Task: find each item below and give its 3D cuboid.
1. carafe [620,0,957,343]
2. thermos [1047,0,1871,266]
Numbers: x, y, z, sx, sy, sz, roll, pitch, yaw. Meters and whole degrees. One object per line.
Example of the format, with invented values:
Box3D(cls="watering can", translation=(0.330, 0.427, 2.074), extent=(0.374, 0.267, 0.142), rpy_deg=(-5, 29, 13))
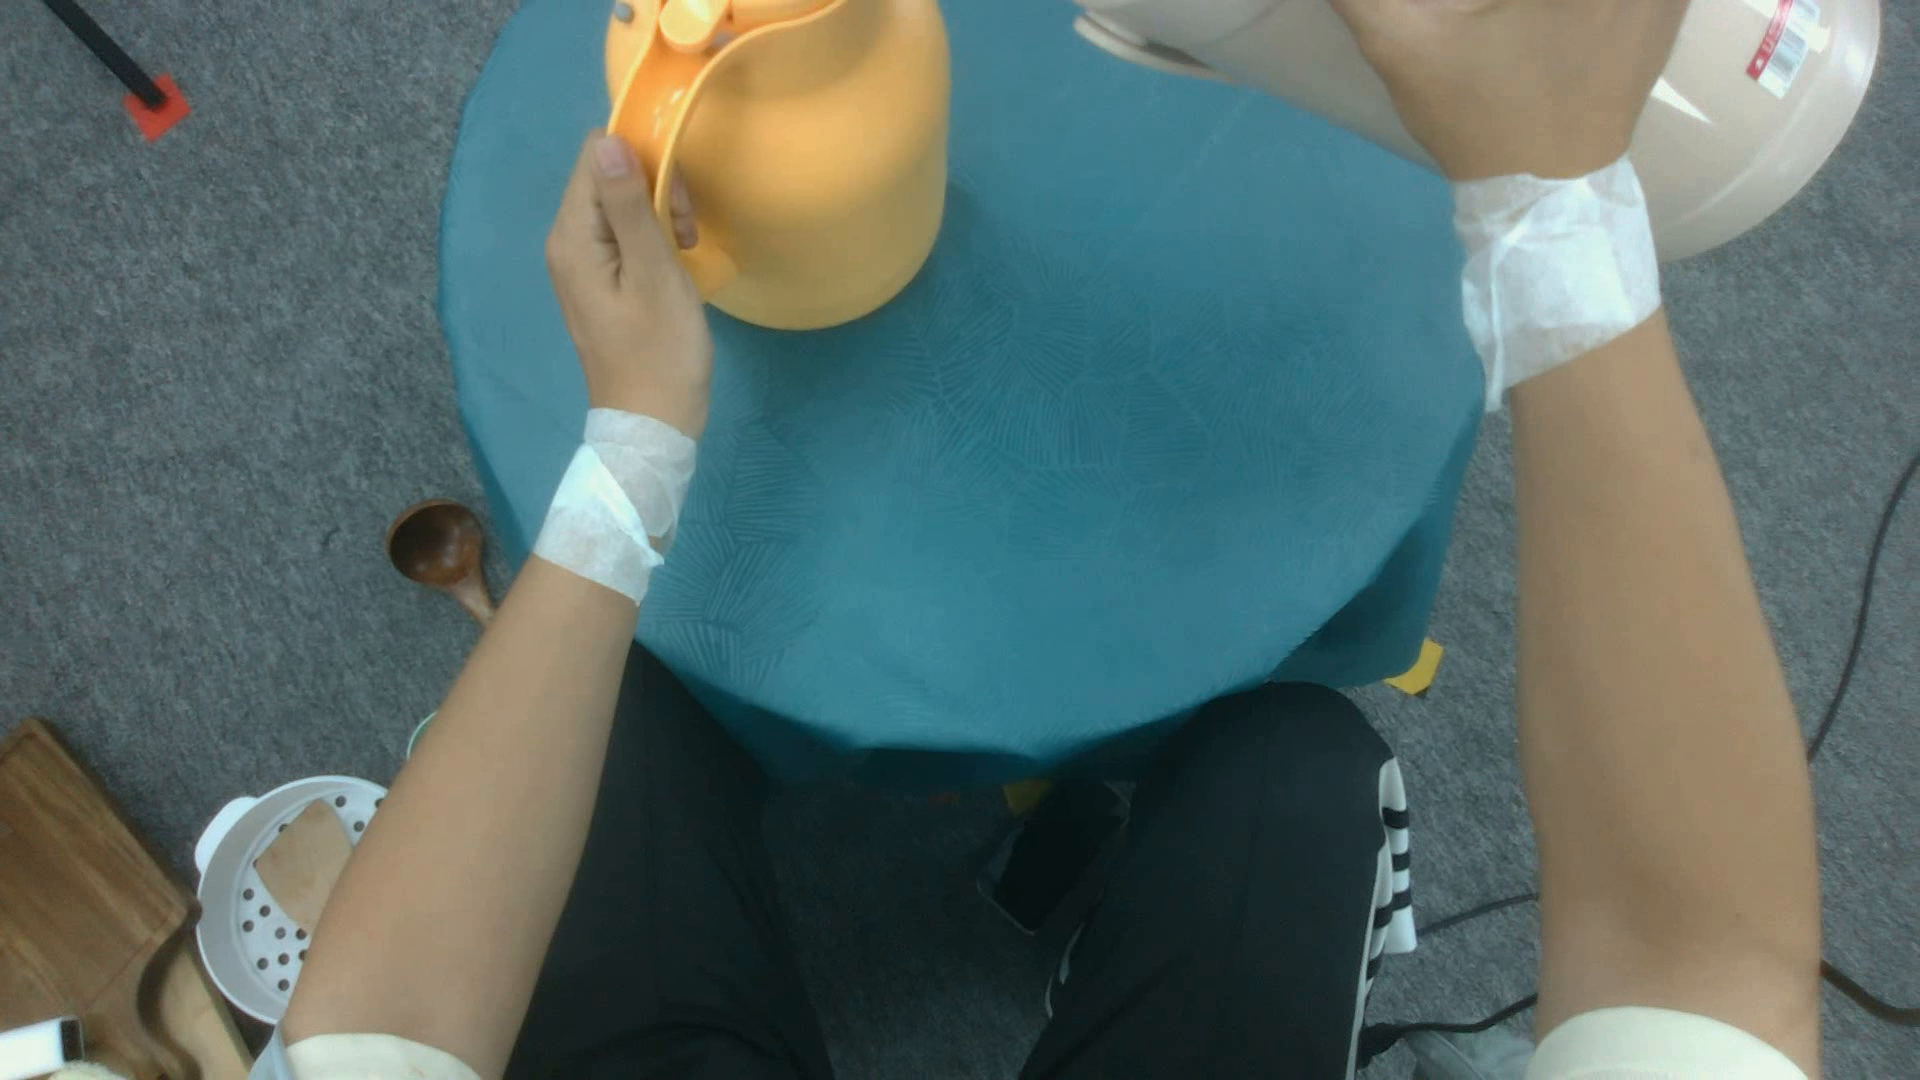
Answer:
Box3D(cls="carafe", translation=(-0.092, -0.198, 0.676), extent=(0.163, 0.259, 0.203), rpy_deg=(27, 75, 7))
Box3D(cls="thermos", translation=(0.159, -0.225, 0.515), extent=(0.407, 0.174, 0.207), rpy_deg=(13, 33, -28))
